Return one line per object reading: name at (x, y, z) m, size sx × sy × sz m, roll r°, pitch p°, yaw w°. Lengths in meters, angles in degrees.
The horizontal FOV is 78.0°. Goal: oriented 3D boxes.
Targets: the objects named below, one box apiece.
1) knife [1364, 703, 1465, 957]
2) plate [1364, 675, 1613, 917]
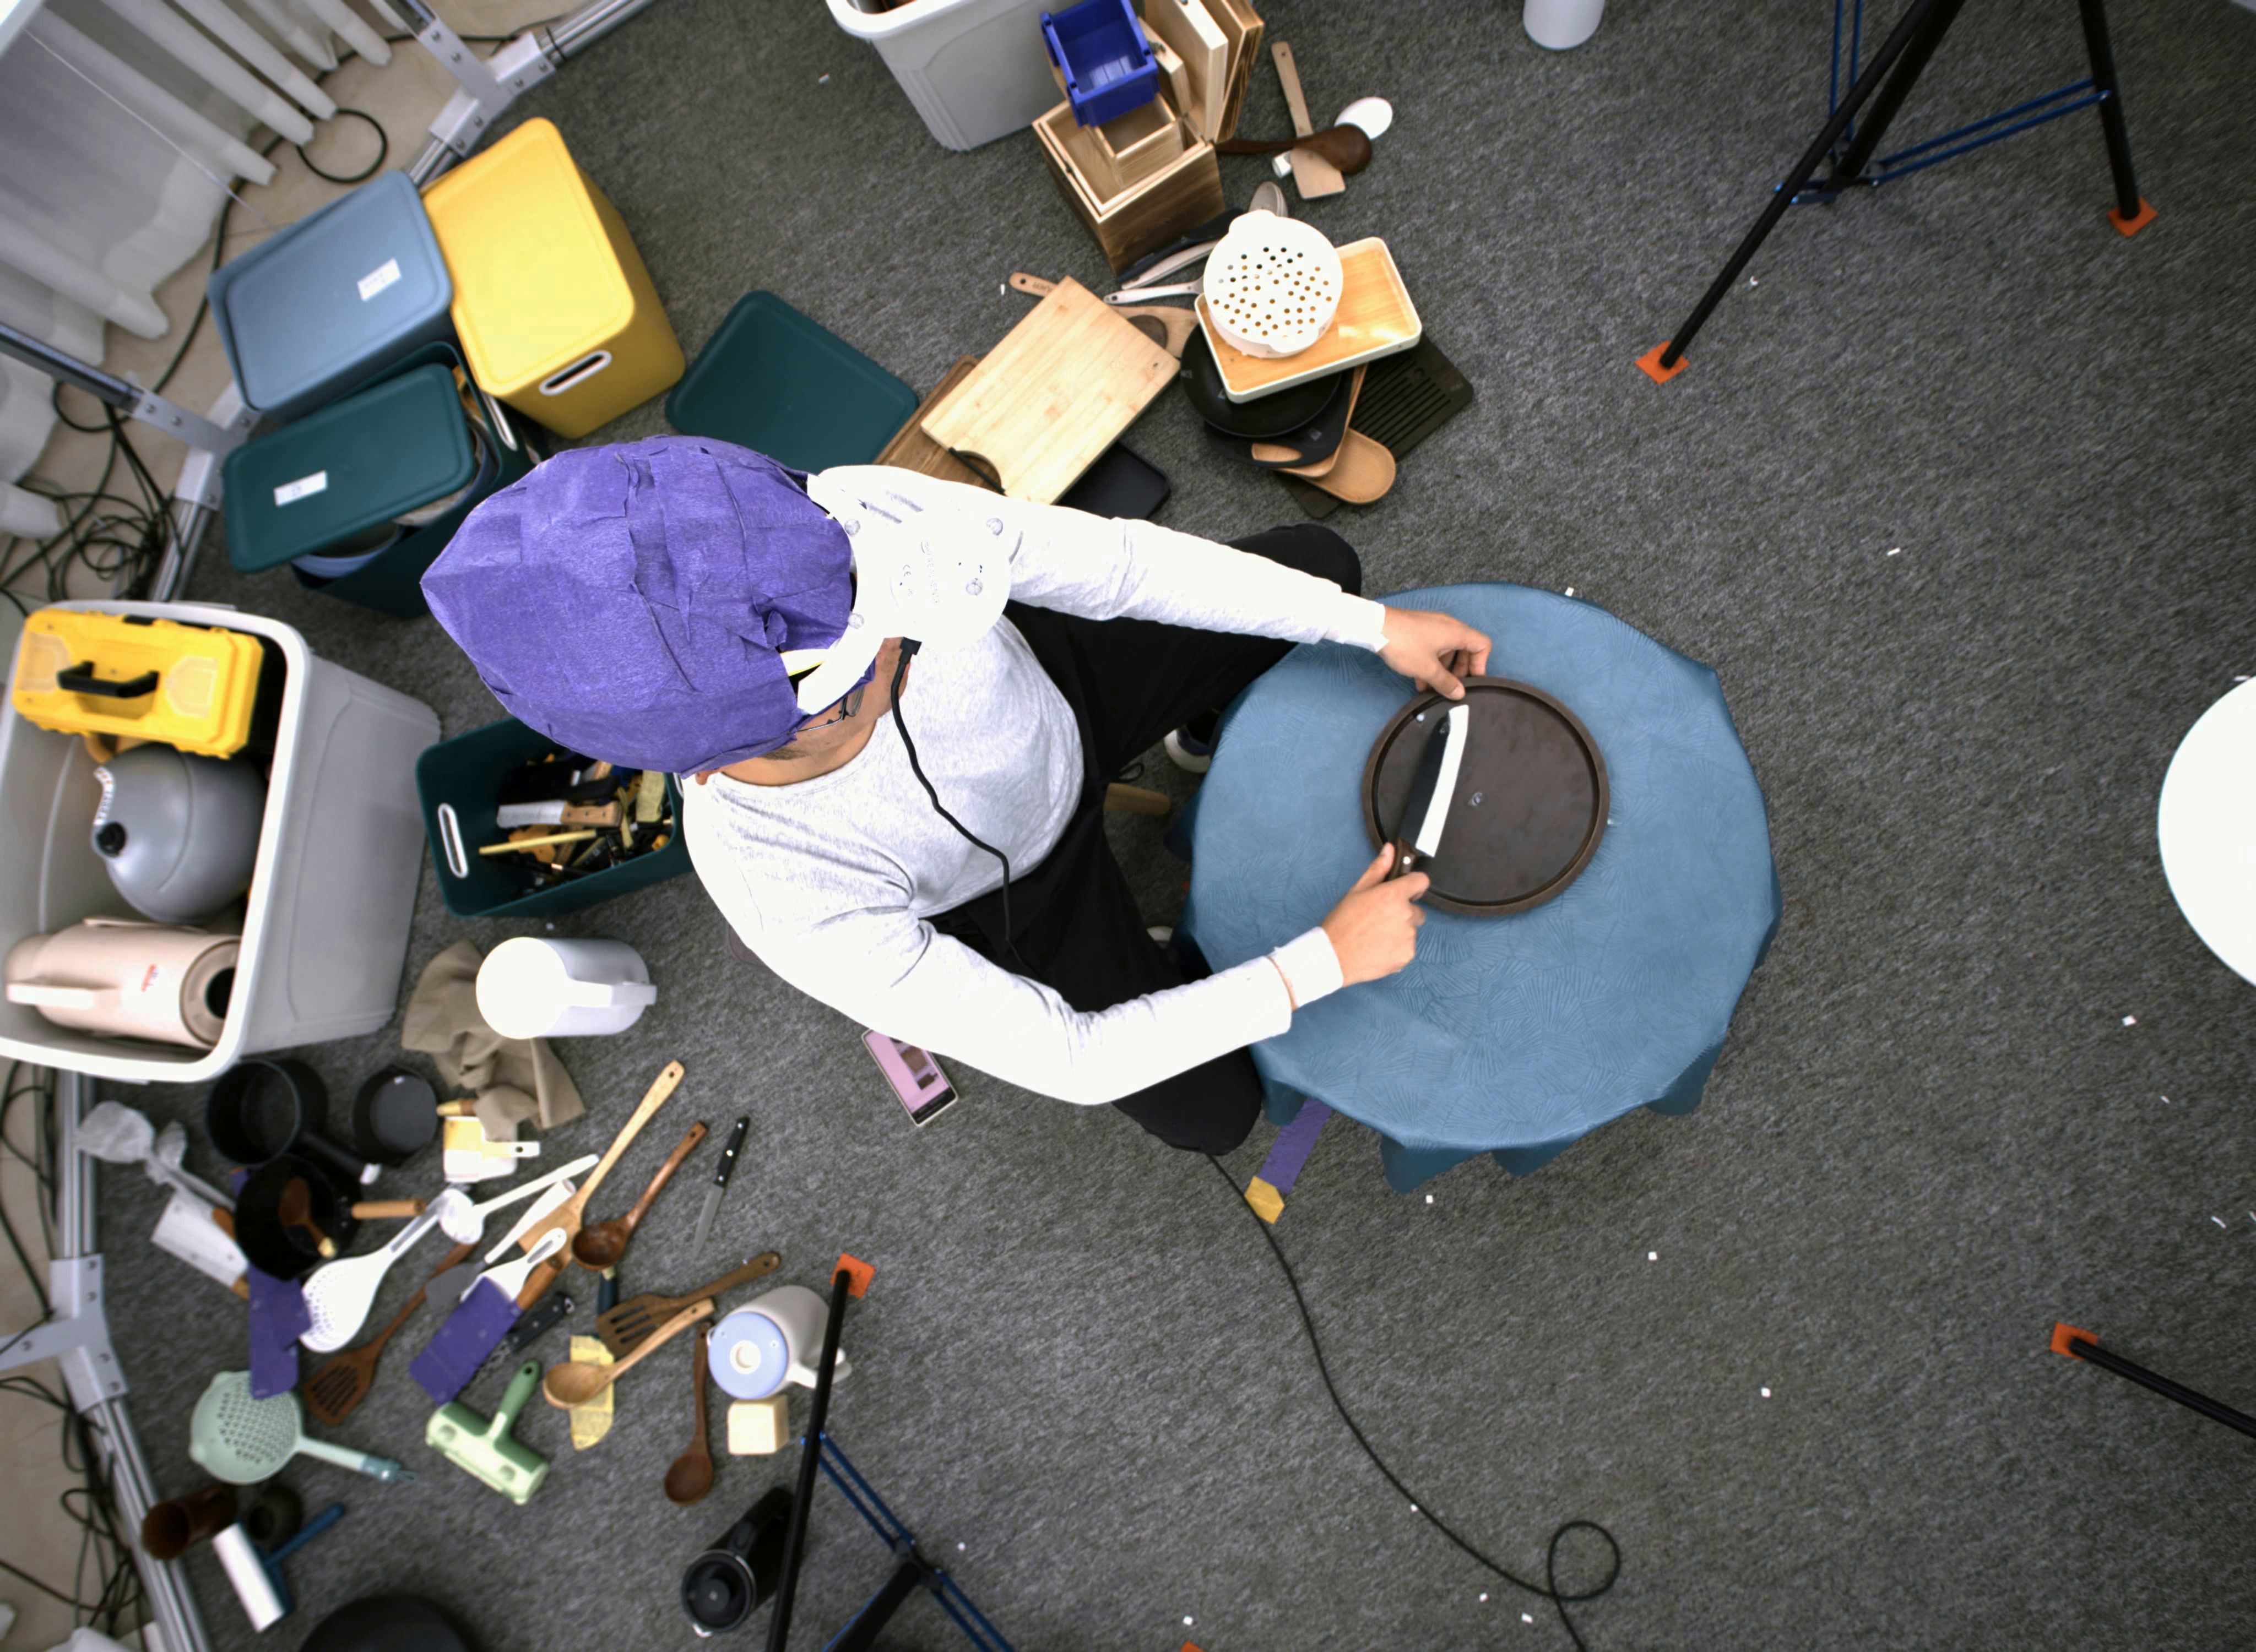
knife at (0.292, 0.000, 1.388) m, size 0.050 × 0.020 × 0.286 m, roll 25°, pitch 78°, yaw -16°
plate at (0.374, -0.034, 1.431) m, size 0.256 × 0.029 × 0.254 m, roll 0°, pitch 90°, yaw 11°
